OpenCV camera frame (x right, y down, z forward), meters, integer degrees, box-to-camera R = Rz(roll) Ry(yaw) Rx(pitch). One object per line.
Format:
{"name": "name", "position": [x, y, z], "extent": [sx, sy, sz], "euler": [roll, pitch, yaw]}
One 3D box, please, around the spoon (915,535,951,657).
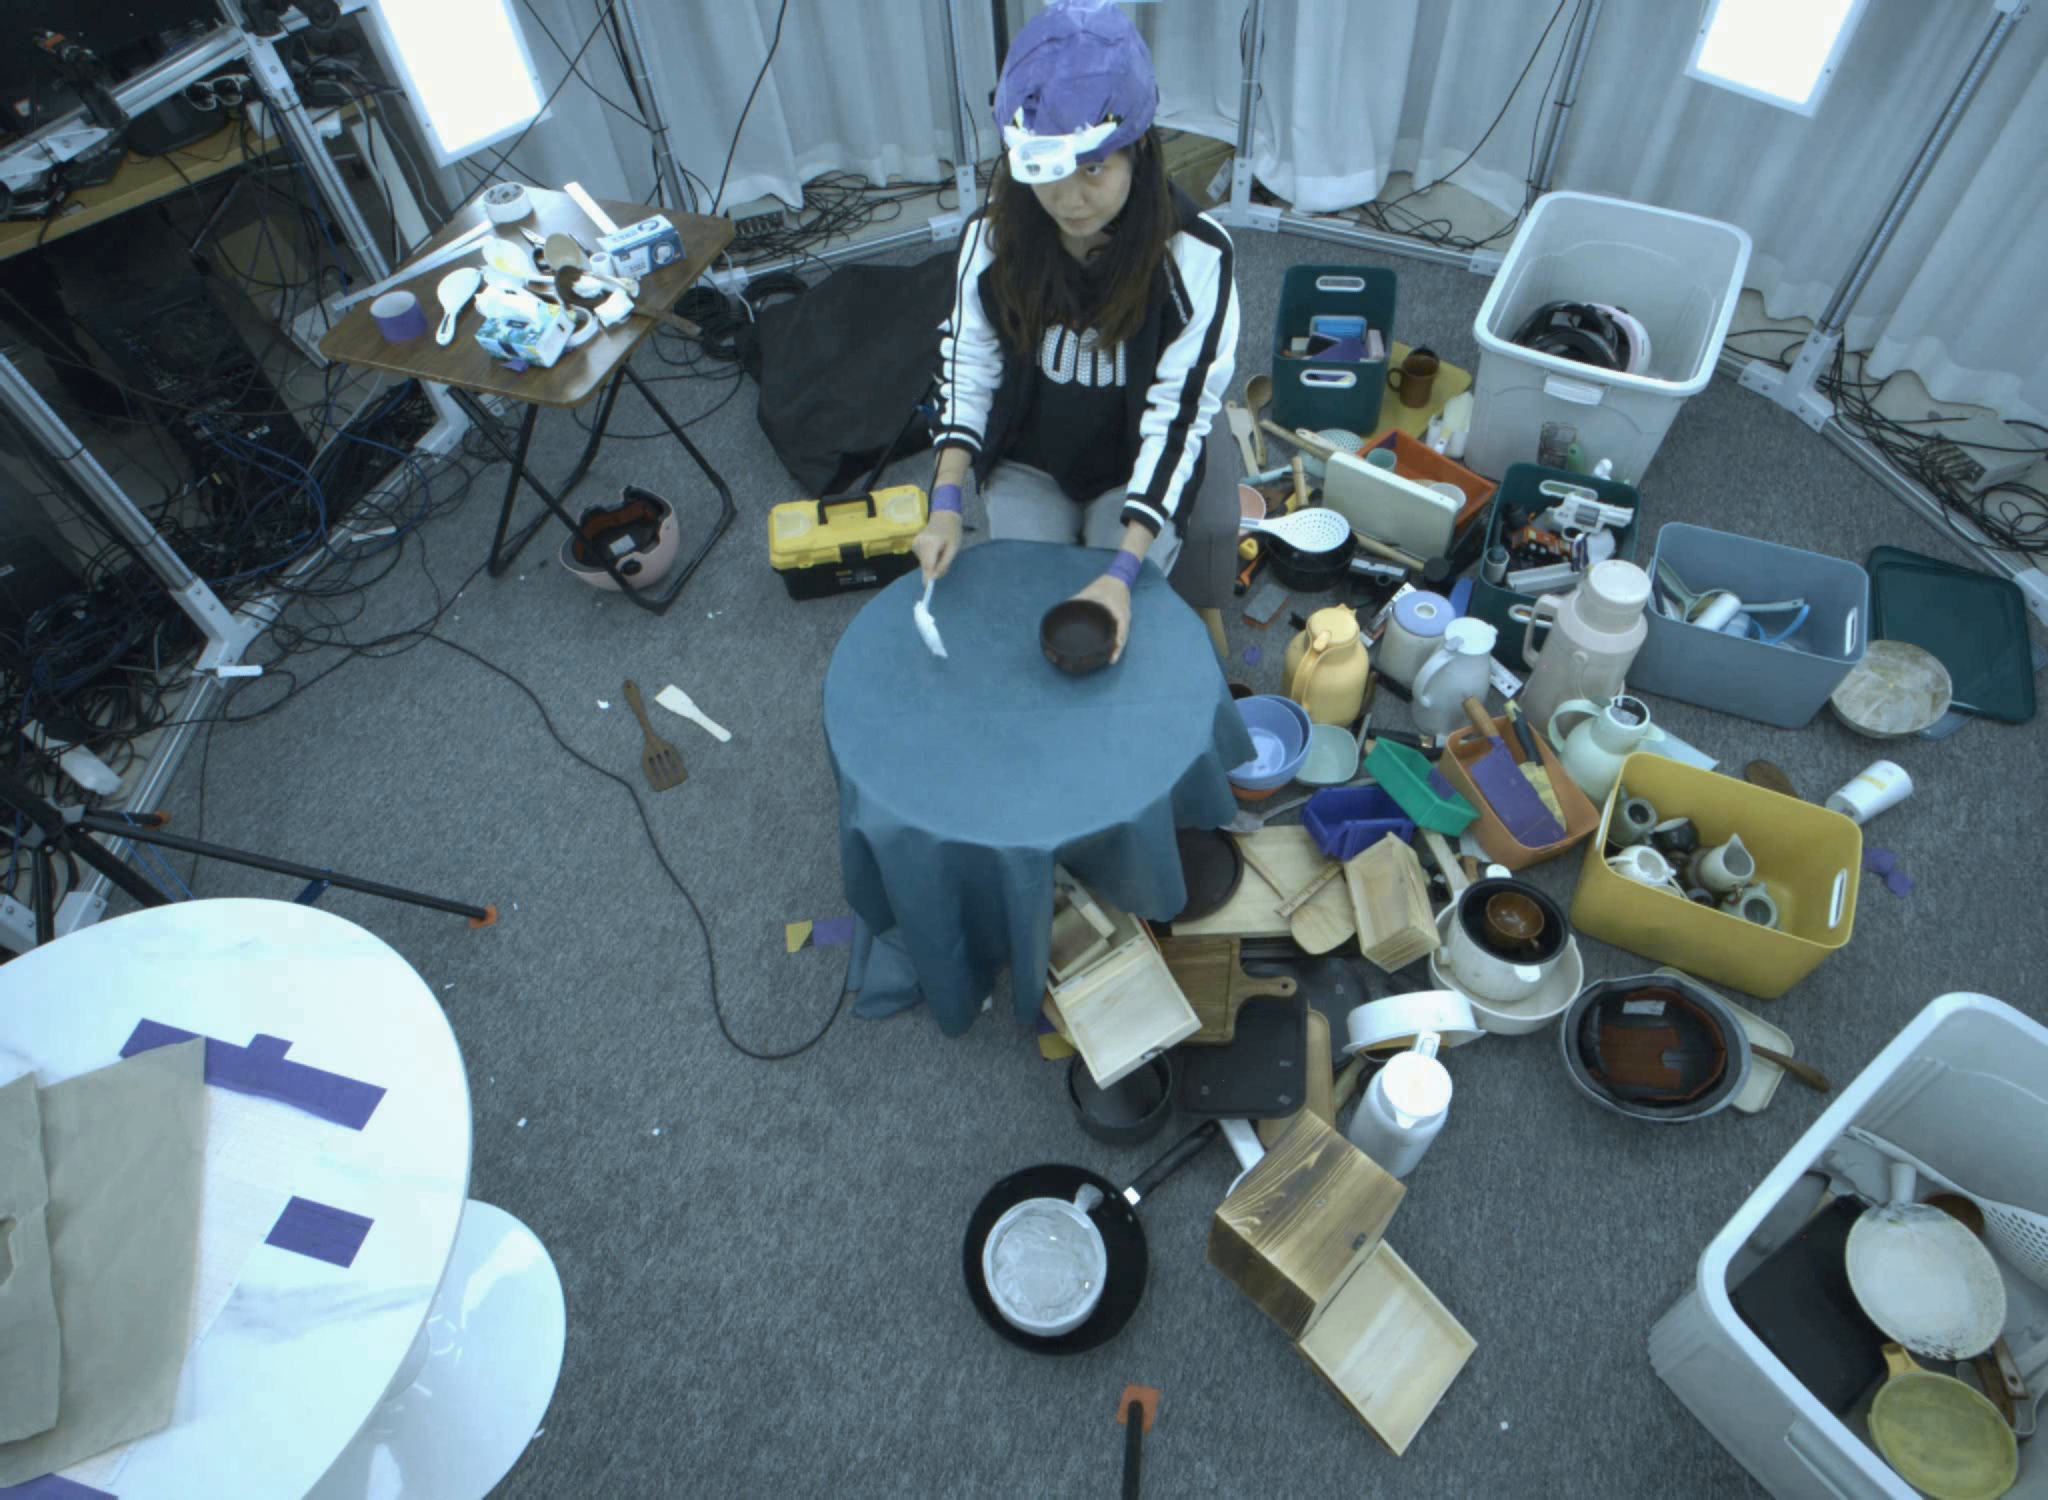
{"name": "spoon", "position": [-0.119, -0.247, 1.879], "extent": [0.059, 0.102, 0.275], "euler": [-2, 44, 15]}

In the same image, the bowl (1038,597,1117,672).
{"name": "bowl", "position": [0.081, -0.167, 1.858], "extent": [0.118, 0.070, 0.117], "euler": [0, 55, 2]}
